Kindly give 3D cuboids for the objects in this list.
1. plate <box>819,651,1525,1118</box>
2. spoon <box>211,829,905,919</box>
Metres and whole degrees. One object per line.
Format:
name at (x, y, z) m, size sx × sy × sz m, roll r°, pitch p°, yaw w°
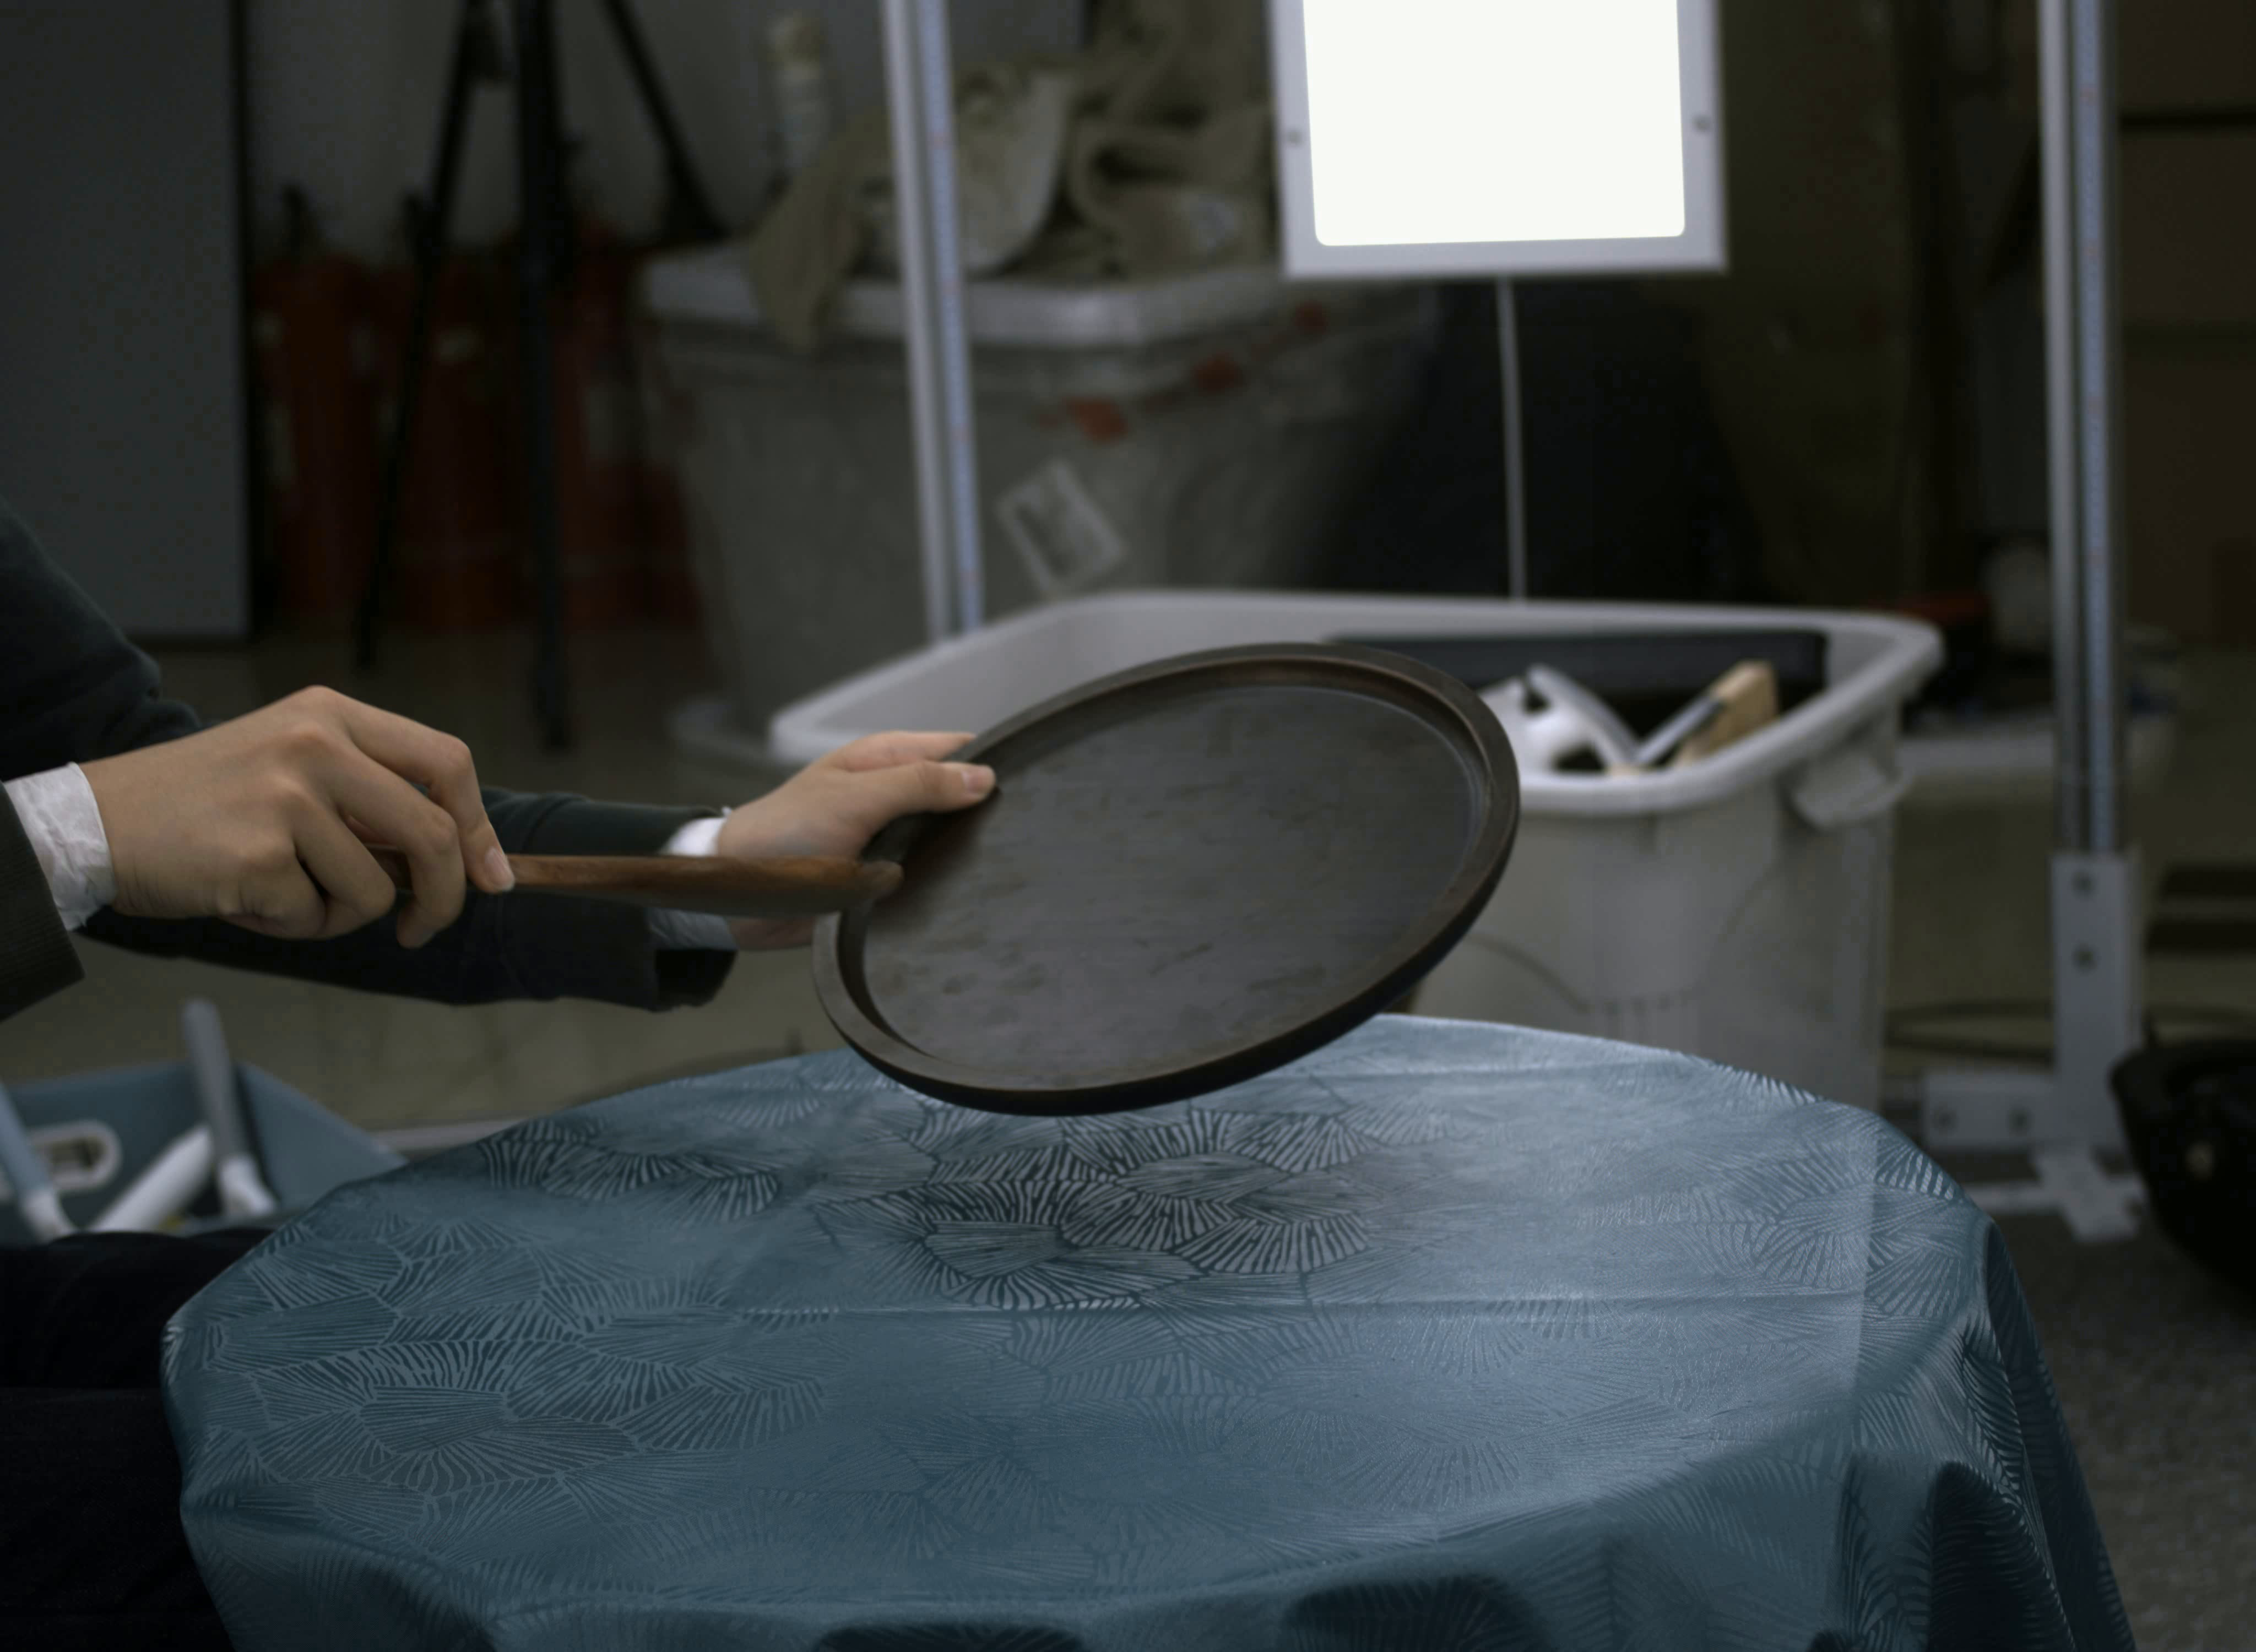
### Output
plate at (0.015, 0.019, 1.882) m, size 0.256 × 0.029 × 0.254 m, roll -15°, pitch 31°, yaw 8°
spoon at (-0.173, 0.016, 1.686) m, size 0.212 × 0.017 × 0.076 m, roll 4°, pitch -5°, yaw -17°
